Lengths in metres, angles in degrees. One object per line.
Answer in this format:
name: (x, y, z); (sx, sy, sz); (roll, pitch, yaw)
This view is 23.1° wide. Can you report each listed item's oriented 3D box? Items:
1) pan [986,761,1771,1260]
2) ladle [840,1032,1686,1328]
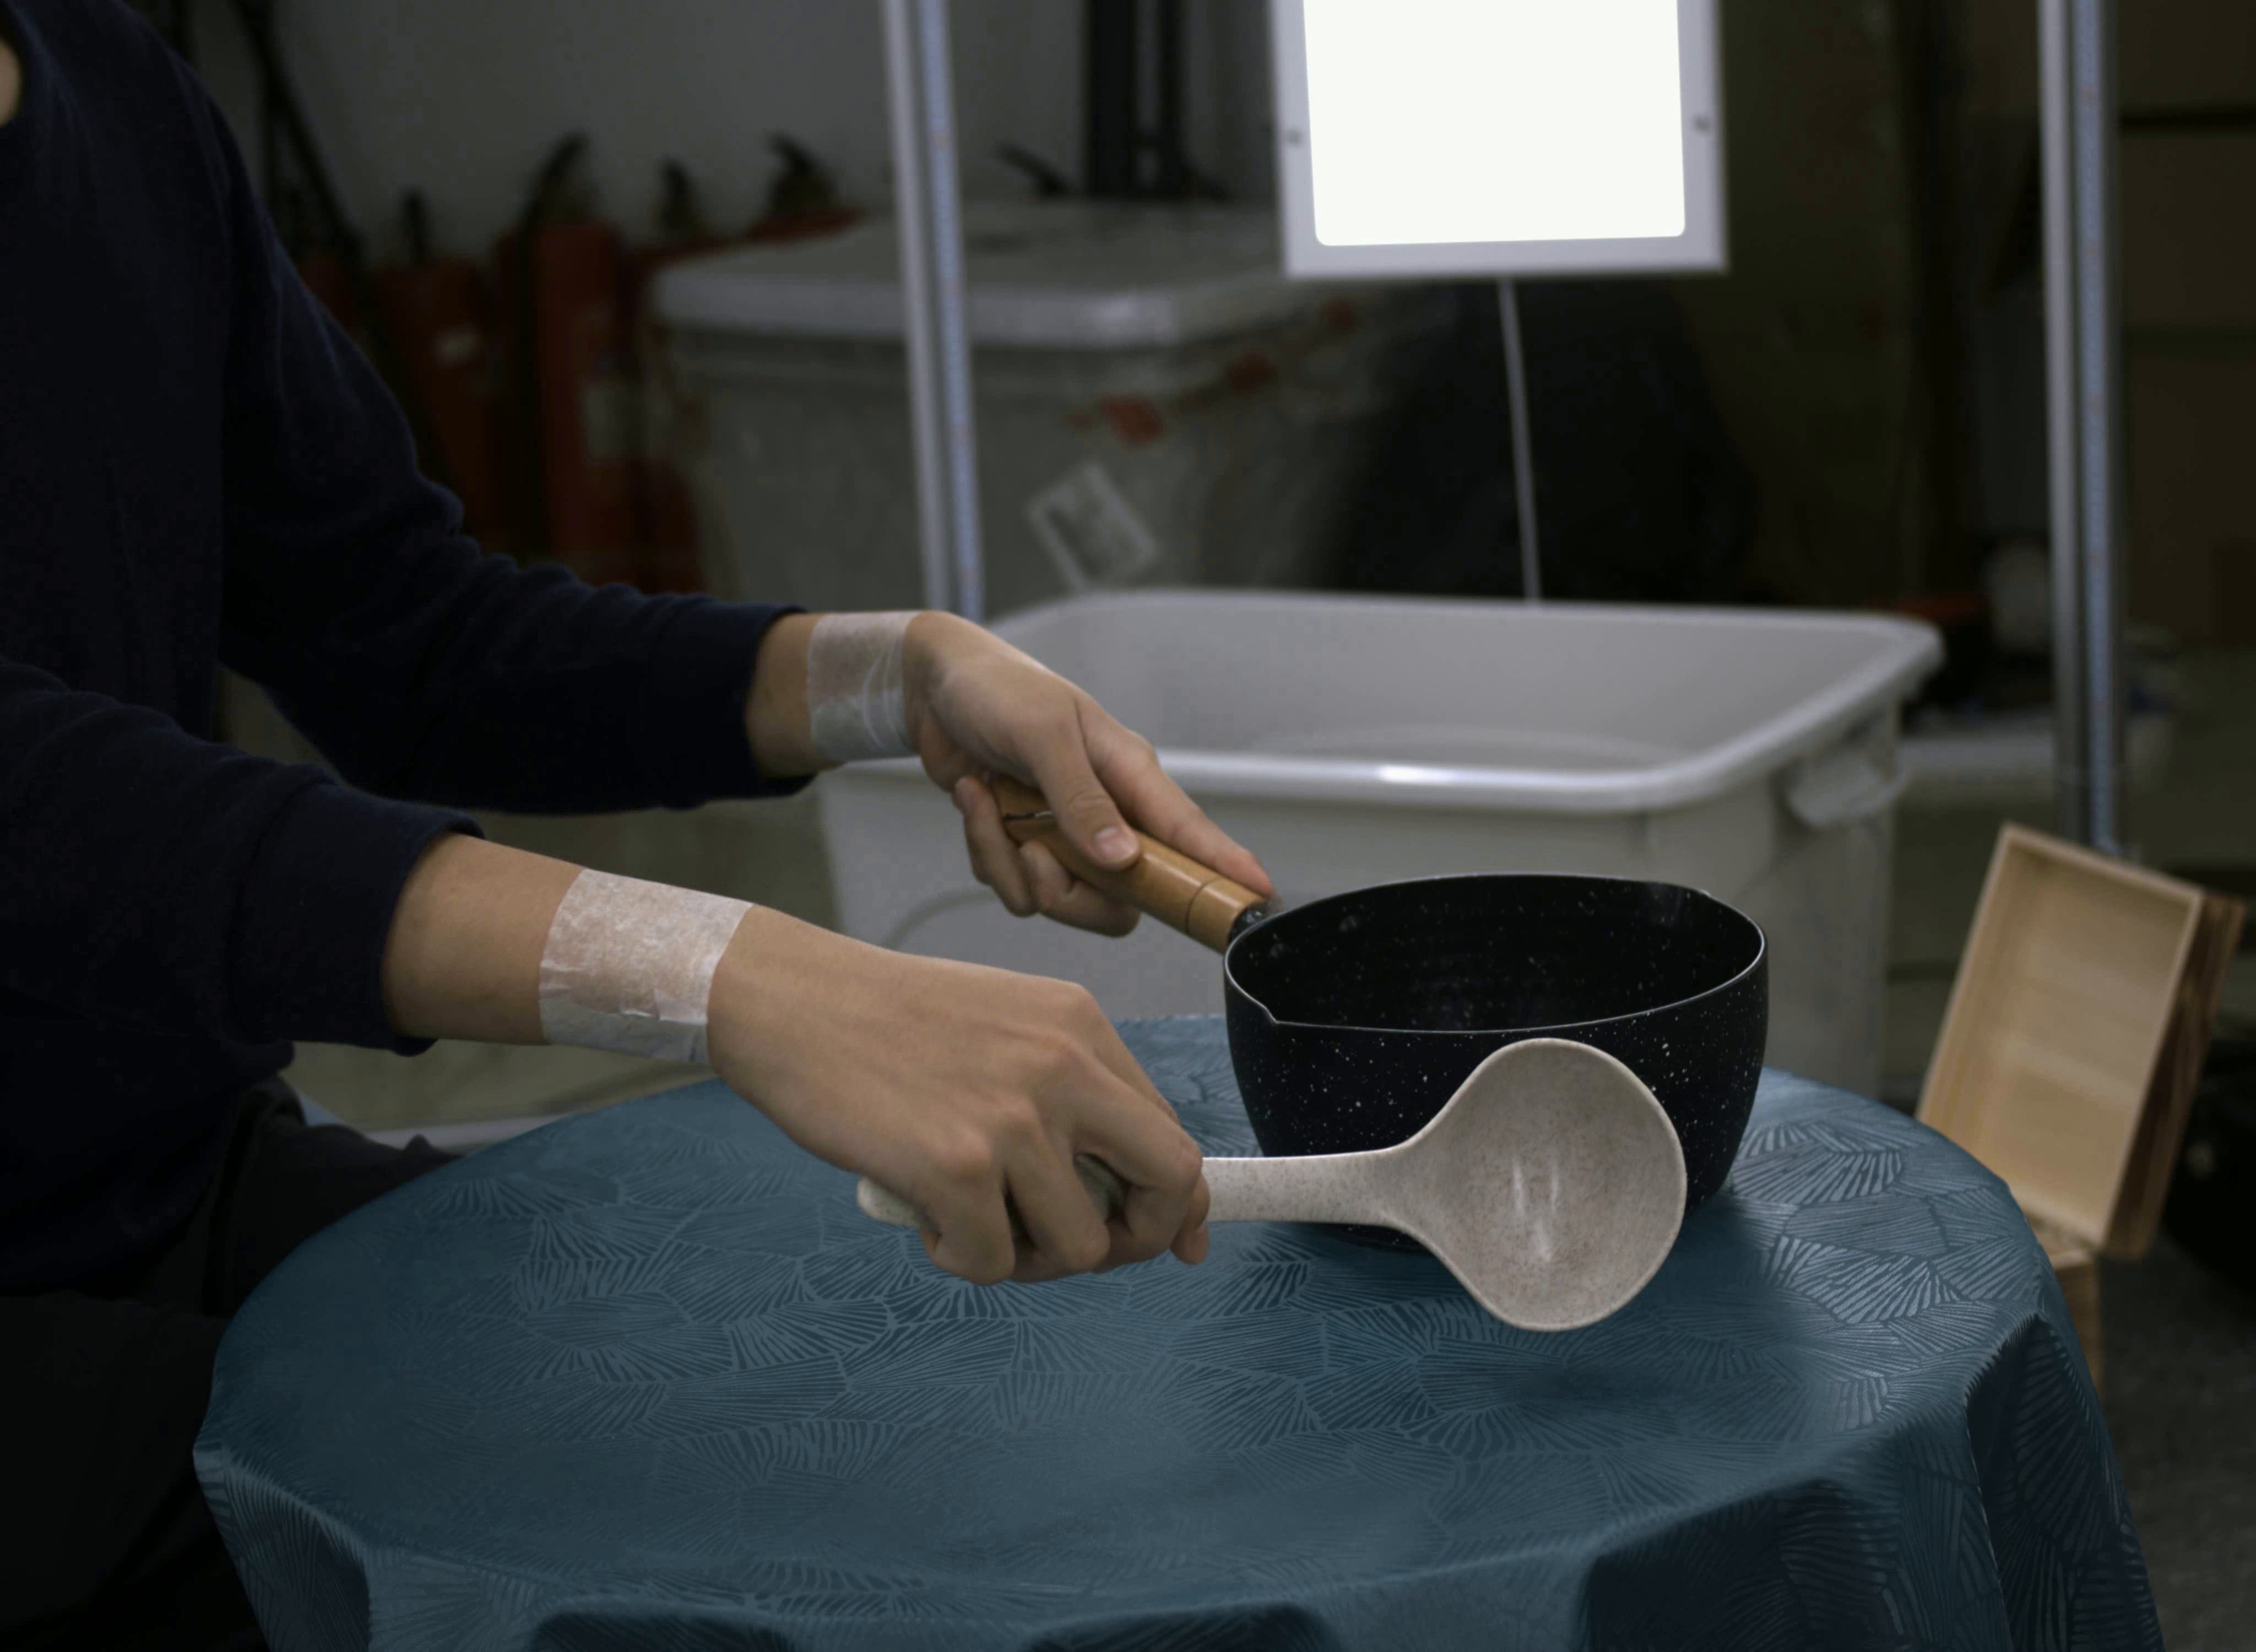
pan: (0.070, 0.057, 1.909); (0.202, 0.108, 0.350); (-18, 22, -40)
ladle: (0.045, 0.104, 1.600); (0.268, 0.089, 0.071); (2, 2, -38)
